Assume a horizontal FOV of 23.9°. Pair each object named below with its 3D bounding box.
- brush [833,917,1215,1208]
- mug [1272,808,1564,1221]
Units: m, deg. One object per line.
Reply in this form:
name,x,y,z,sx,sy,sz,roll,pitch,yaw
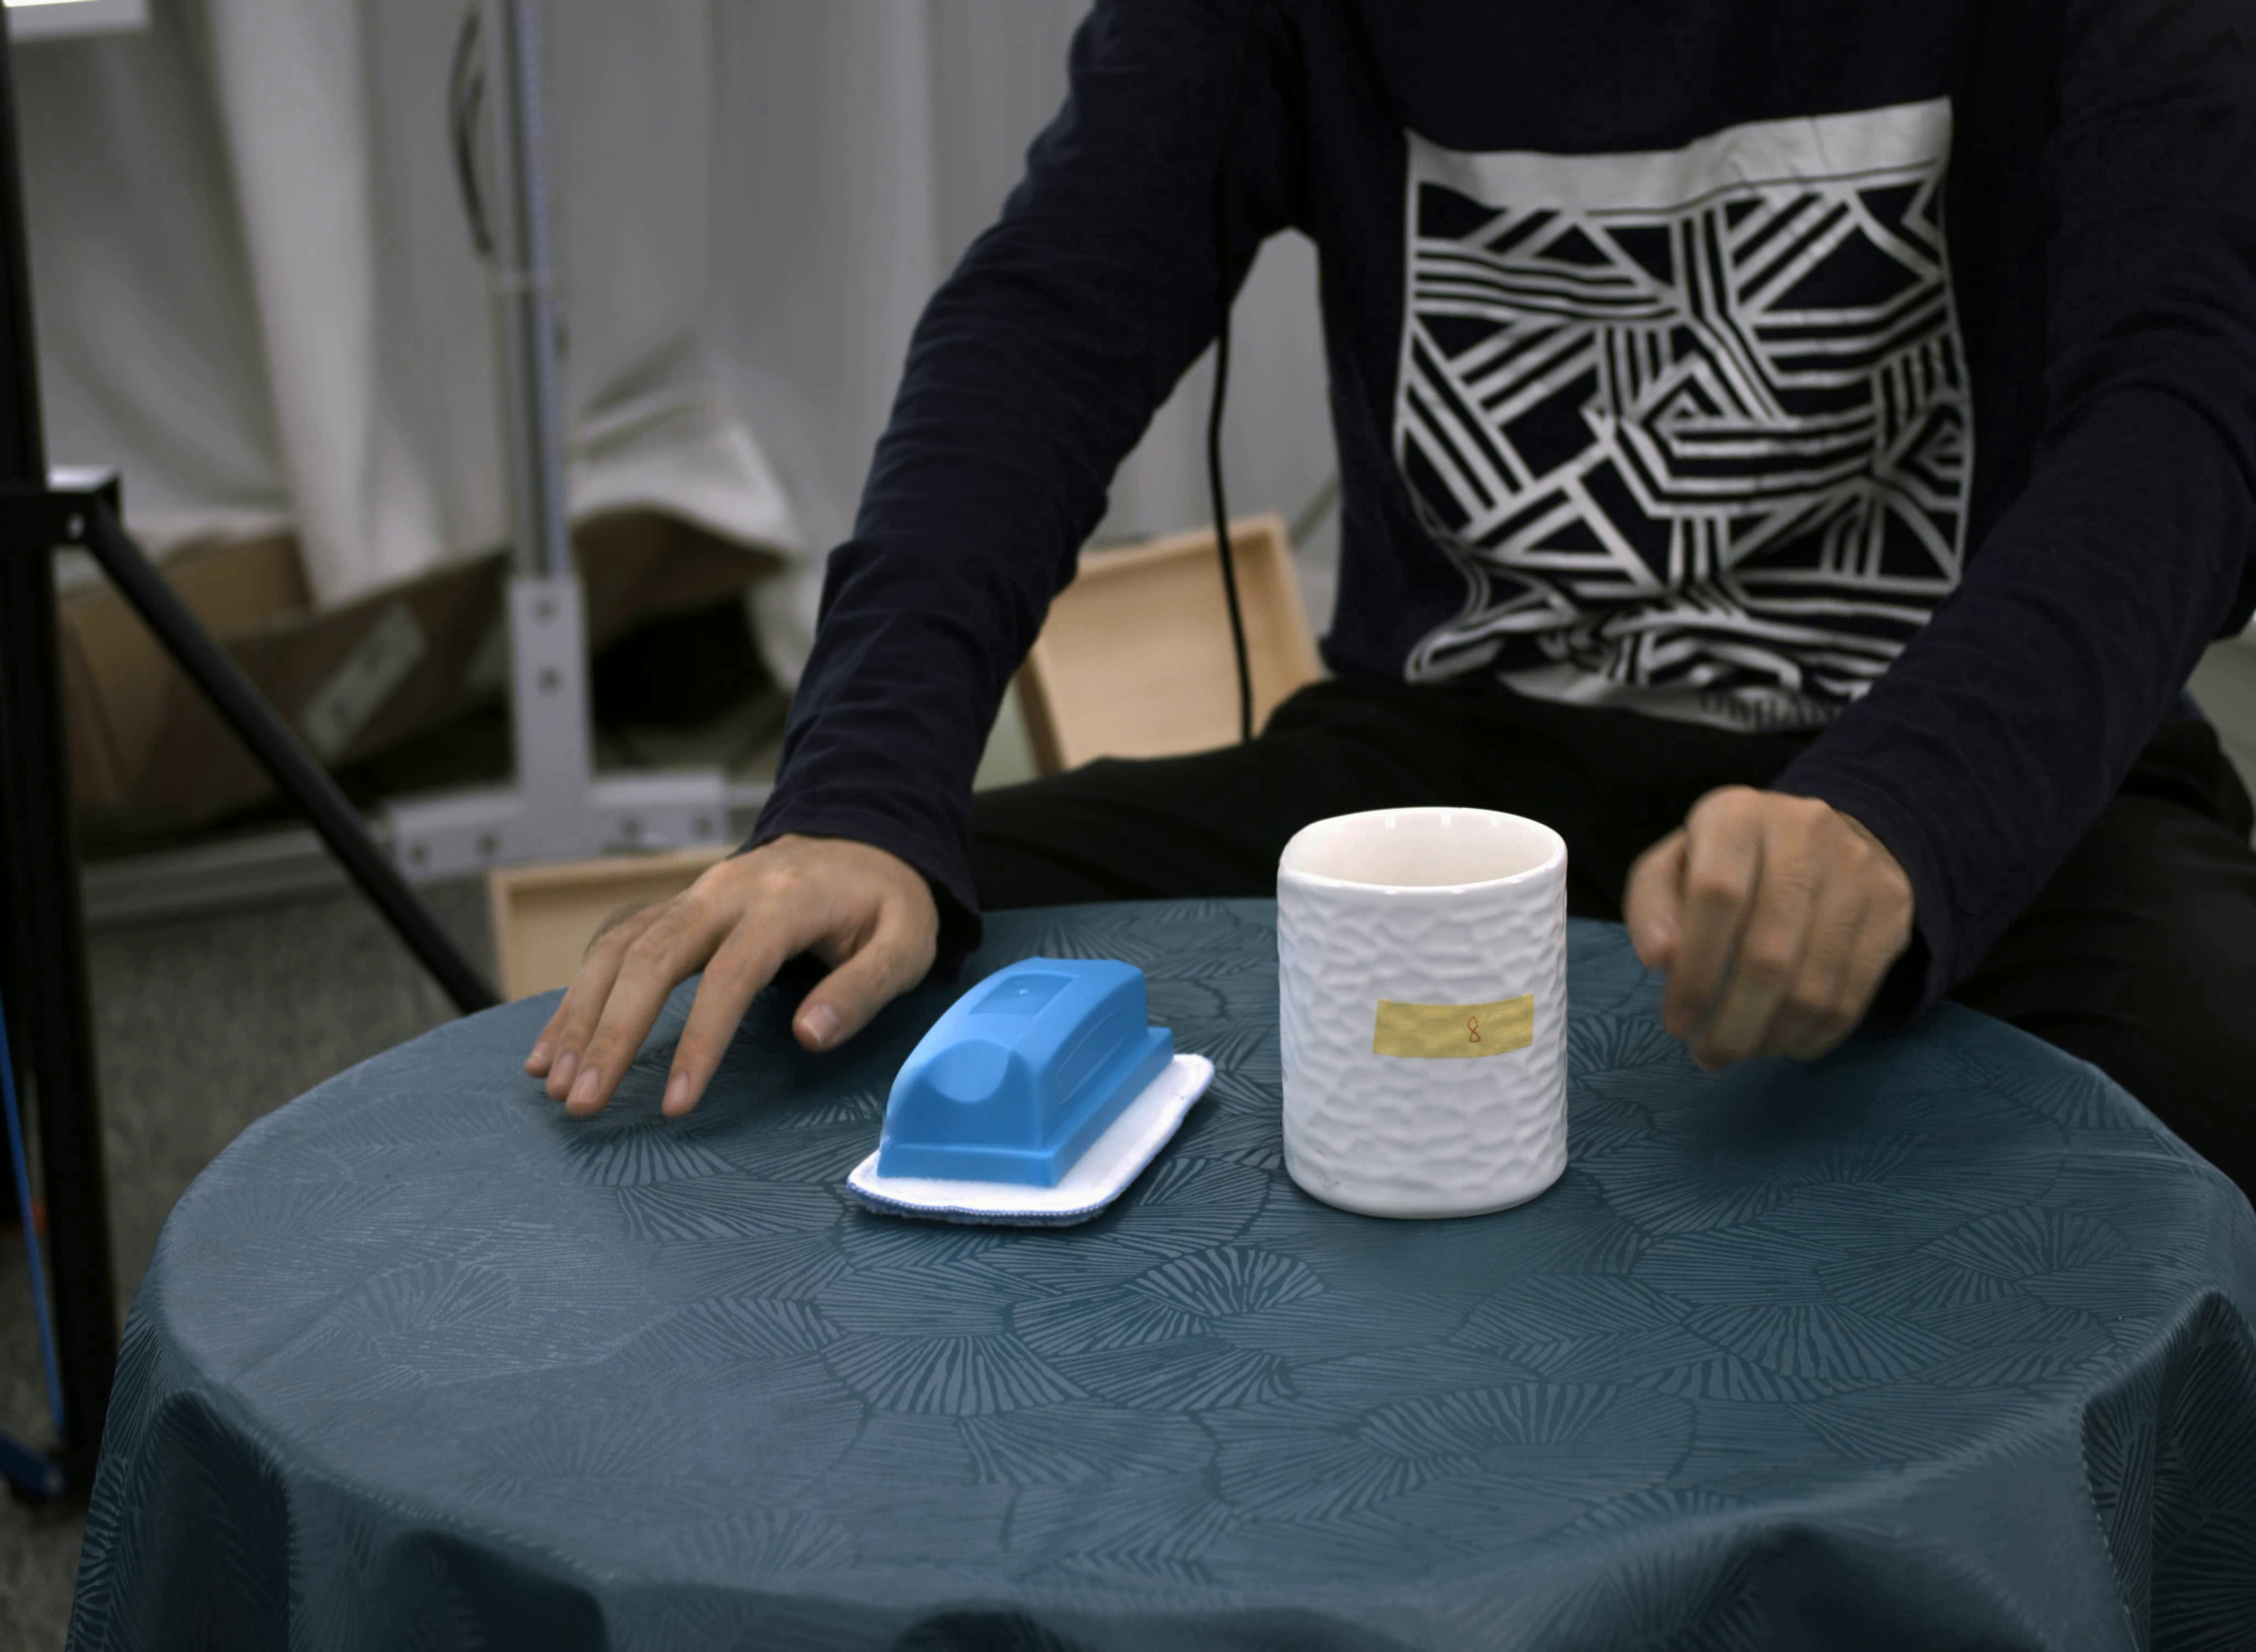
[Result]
brush,-0.029,0.067,1.598,0.085,0.056,0.142,6,20,19
mug,0.088,0.051,1.565,0.085,0.102,0.118,0,15,9
